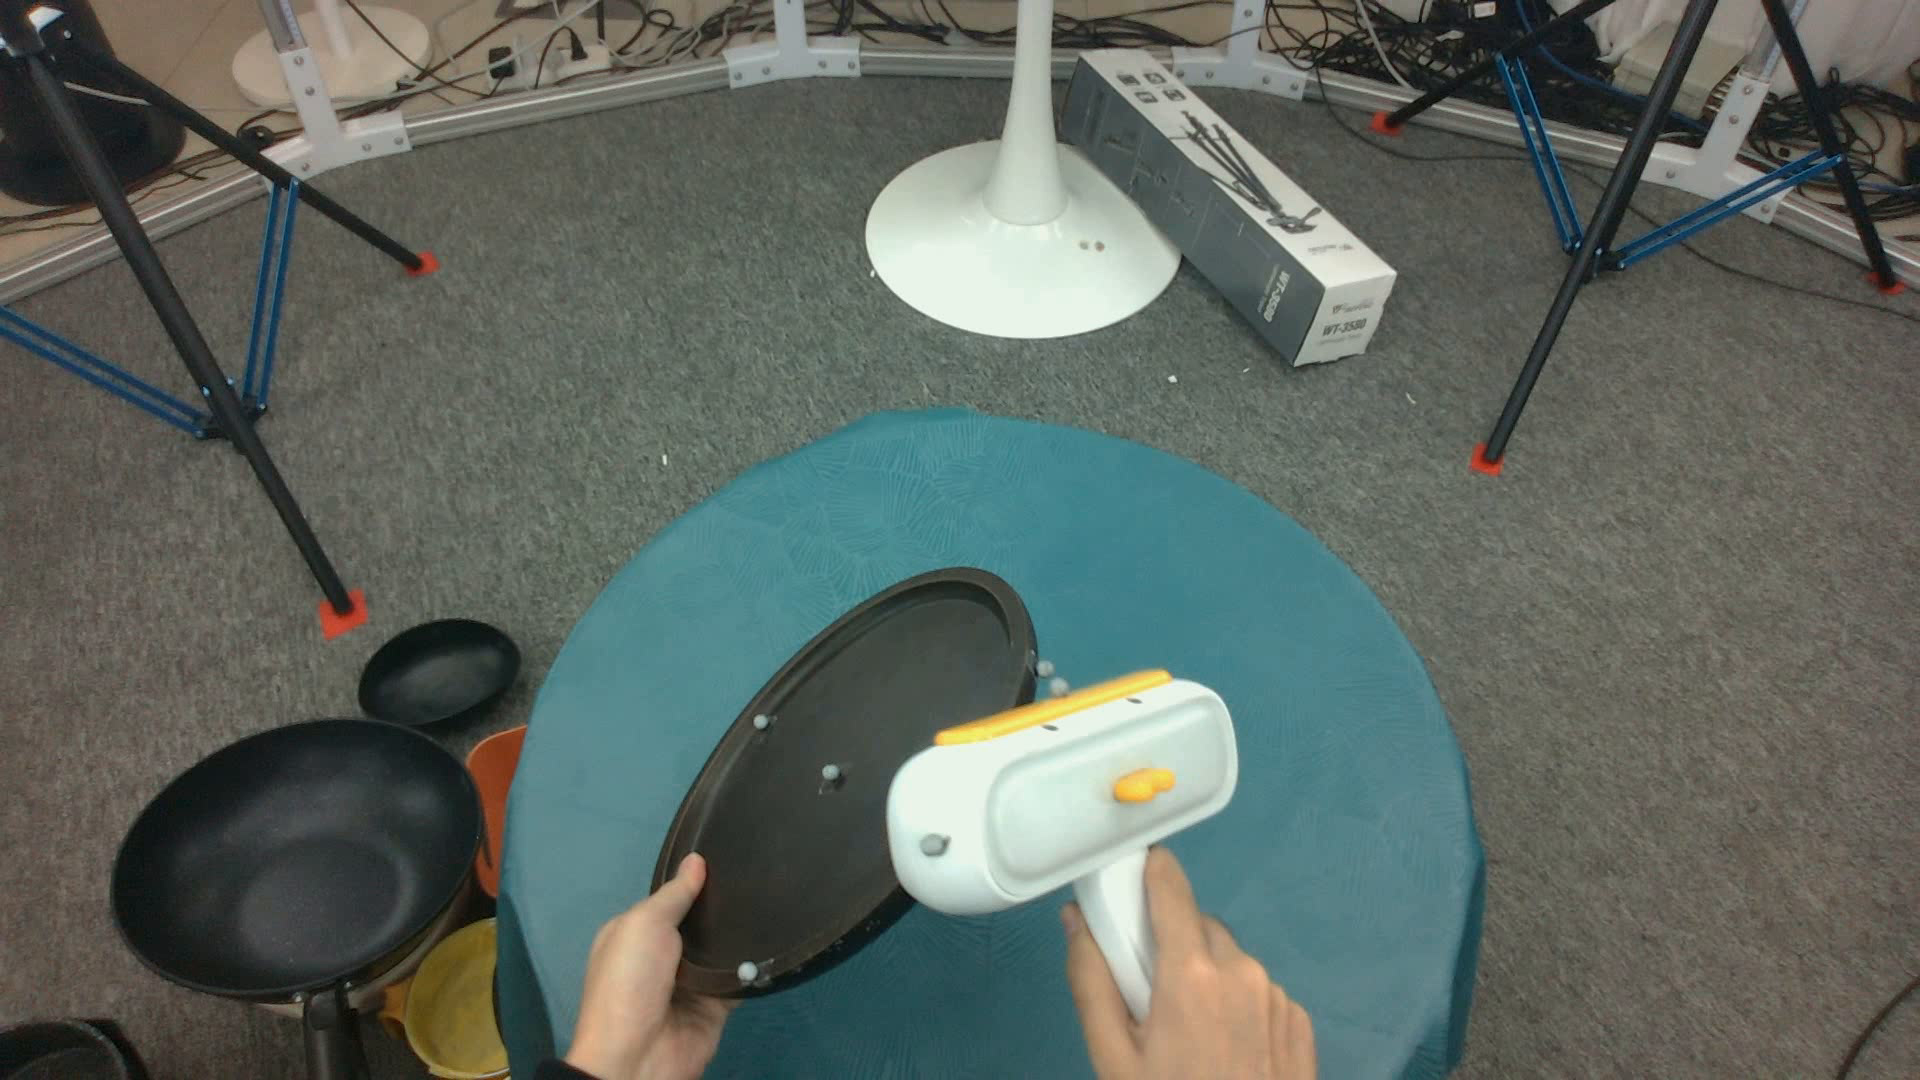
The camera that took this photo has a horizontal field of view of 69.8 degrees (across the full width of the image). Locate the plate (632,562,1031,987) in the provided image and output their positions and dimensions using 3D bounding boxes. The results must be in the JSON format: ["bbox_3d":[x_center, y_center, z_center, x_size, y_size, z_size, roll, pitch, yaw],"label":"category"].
[{"bbox_3d":[-0.066,0.111,0.695,0.254,0.029,0.256,-32,29,21],"label":"plate"}]

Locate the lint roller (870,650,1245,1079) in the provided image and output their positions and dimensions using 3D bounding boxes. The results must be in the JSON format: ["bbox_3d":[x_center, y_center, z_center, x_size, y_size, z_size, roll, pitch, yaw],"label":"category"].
[{"bbox_3d":[0.063,0.151,0.568,0.193,0.074,0.192,-14,86,-53],"label":"lint roller"}]
